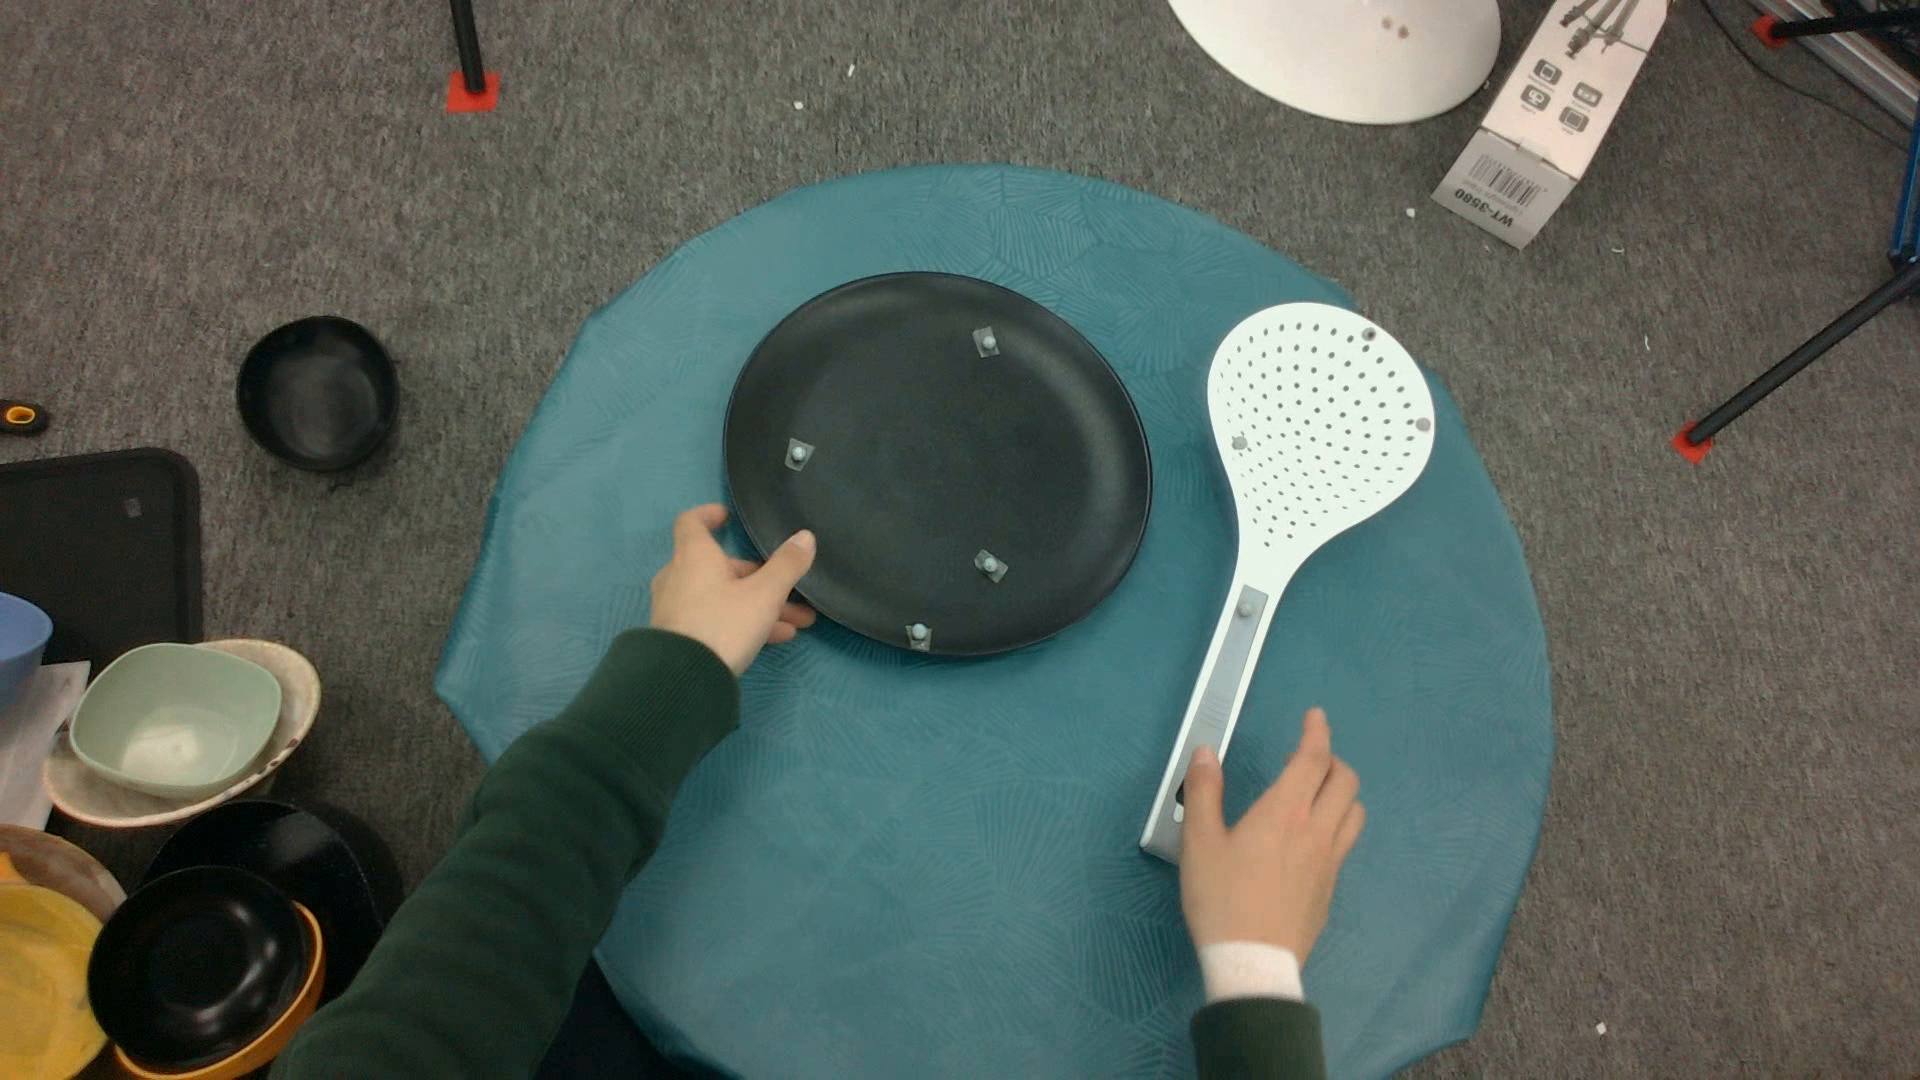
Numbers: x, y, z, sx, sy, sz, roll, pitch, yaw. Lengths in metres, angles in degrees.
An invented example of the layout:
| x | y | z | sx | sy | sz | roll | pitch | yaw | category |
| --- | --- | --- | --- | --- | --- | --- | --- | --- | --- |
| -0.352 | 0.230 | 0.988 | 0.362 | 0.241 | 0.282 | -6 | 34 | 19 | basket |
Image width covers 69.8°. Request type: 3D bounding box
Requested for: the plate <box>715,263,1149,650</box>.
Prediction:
| x | y | z | sx | sy | sz | roll | pitch | yaw | category |
| --- | --- | --- | --- | --- | --- | --- | --- | --- | --- |
| -0.014 | -0.050 | 0.771 | 0.244 | 0.023 | 0.245 | 5 | 64 | -10 | plate |

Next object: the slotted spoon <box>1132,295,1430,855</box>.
| x | y | z | sx | sy | sz | roll | pitch | yaw | category |
| --- | --- | --- | --- | --- | --- | --- | --- | --- | --- |
| 0.167 | 0.010 | 0.770 | 0.136 | 0.045 | 0.351 | 24 | 63 | 2 | slotted spoon |
